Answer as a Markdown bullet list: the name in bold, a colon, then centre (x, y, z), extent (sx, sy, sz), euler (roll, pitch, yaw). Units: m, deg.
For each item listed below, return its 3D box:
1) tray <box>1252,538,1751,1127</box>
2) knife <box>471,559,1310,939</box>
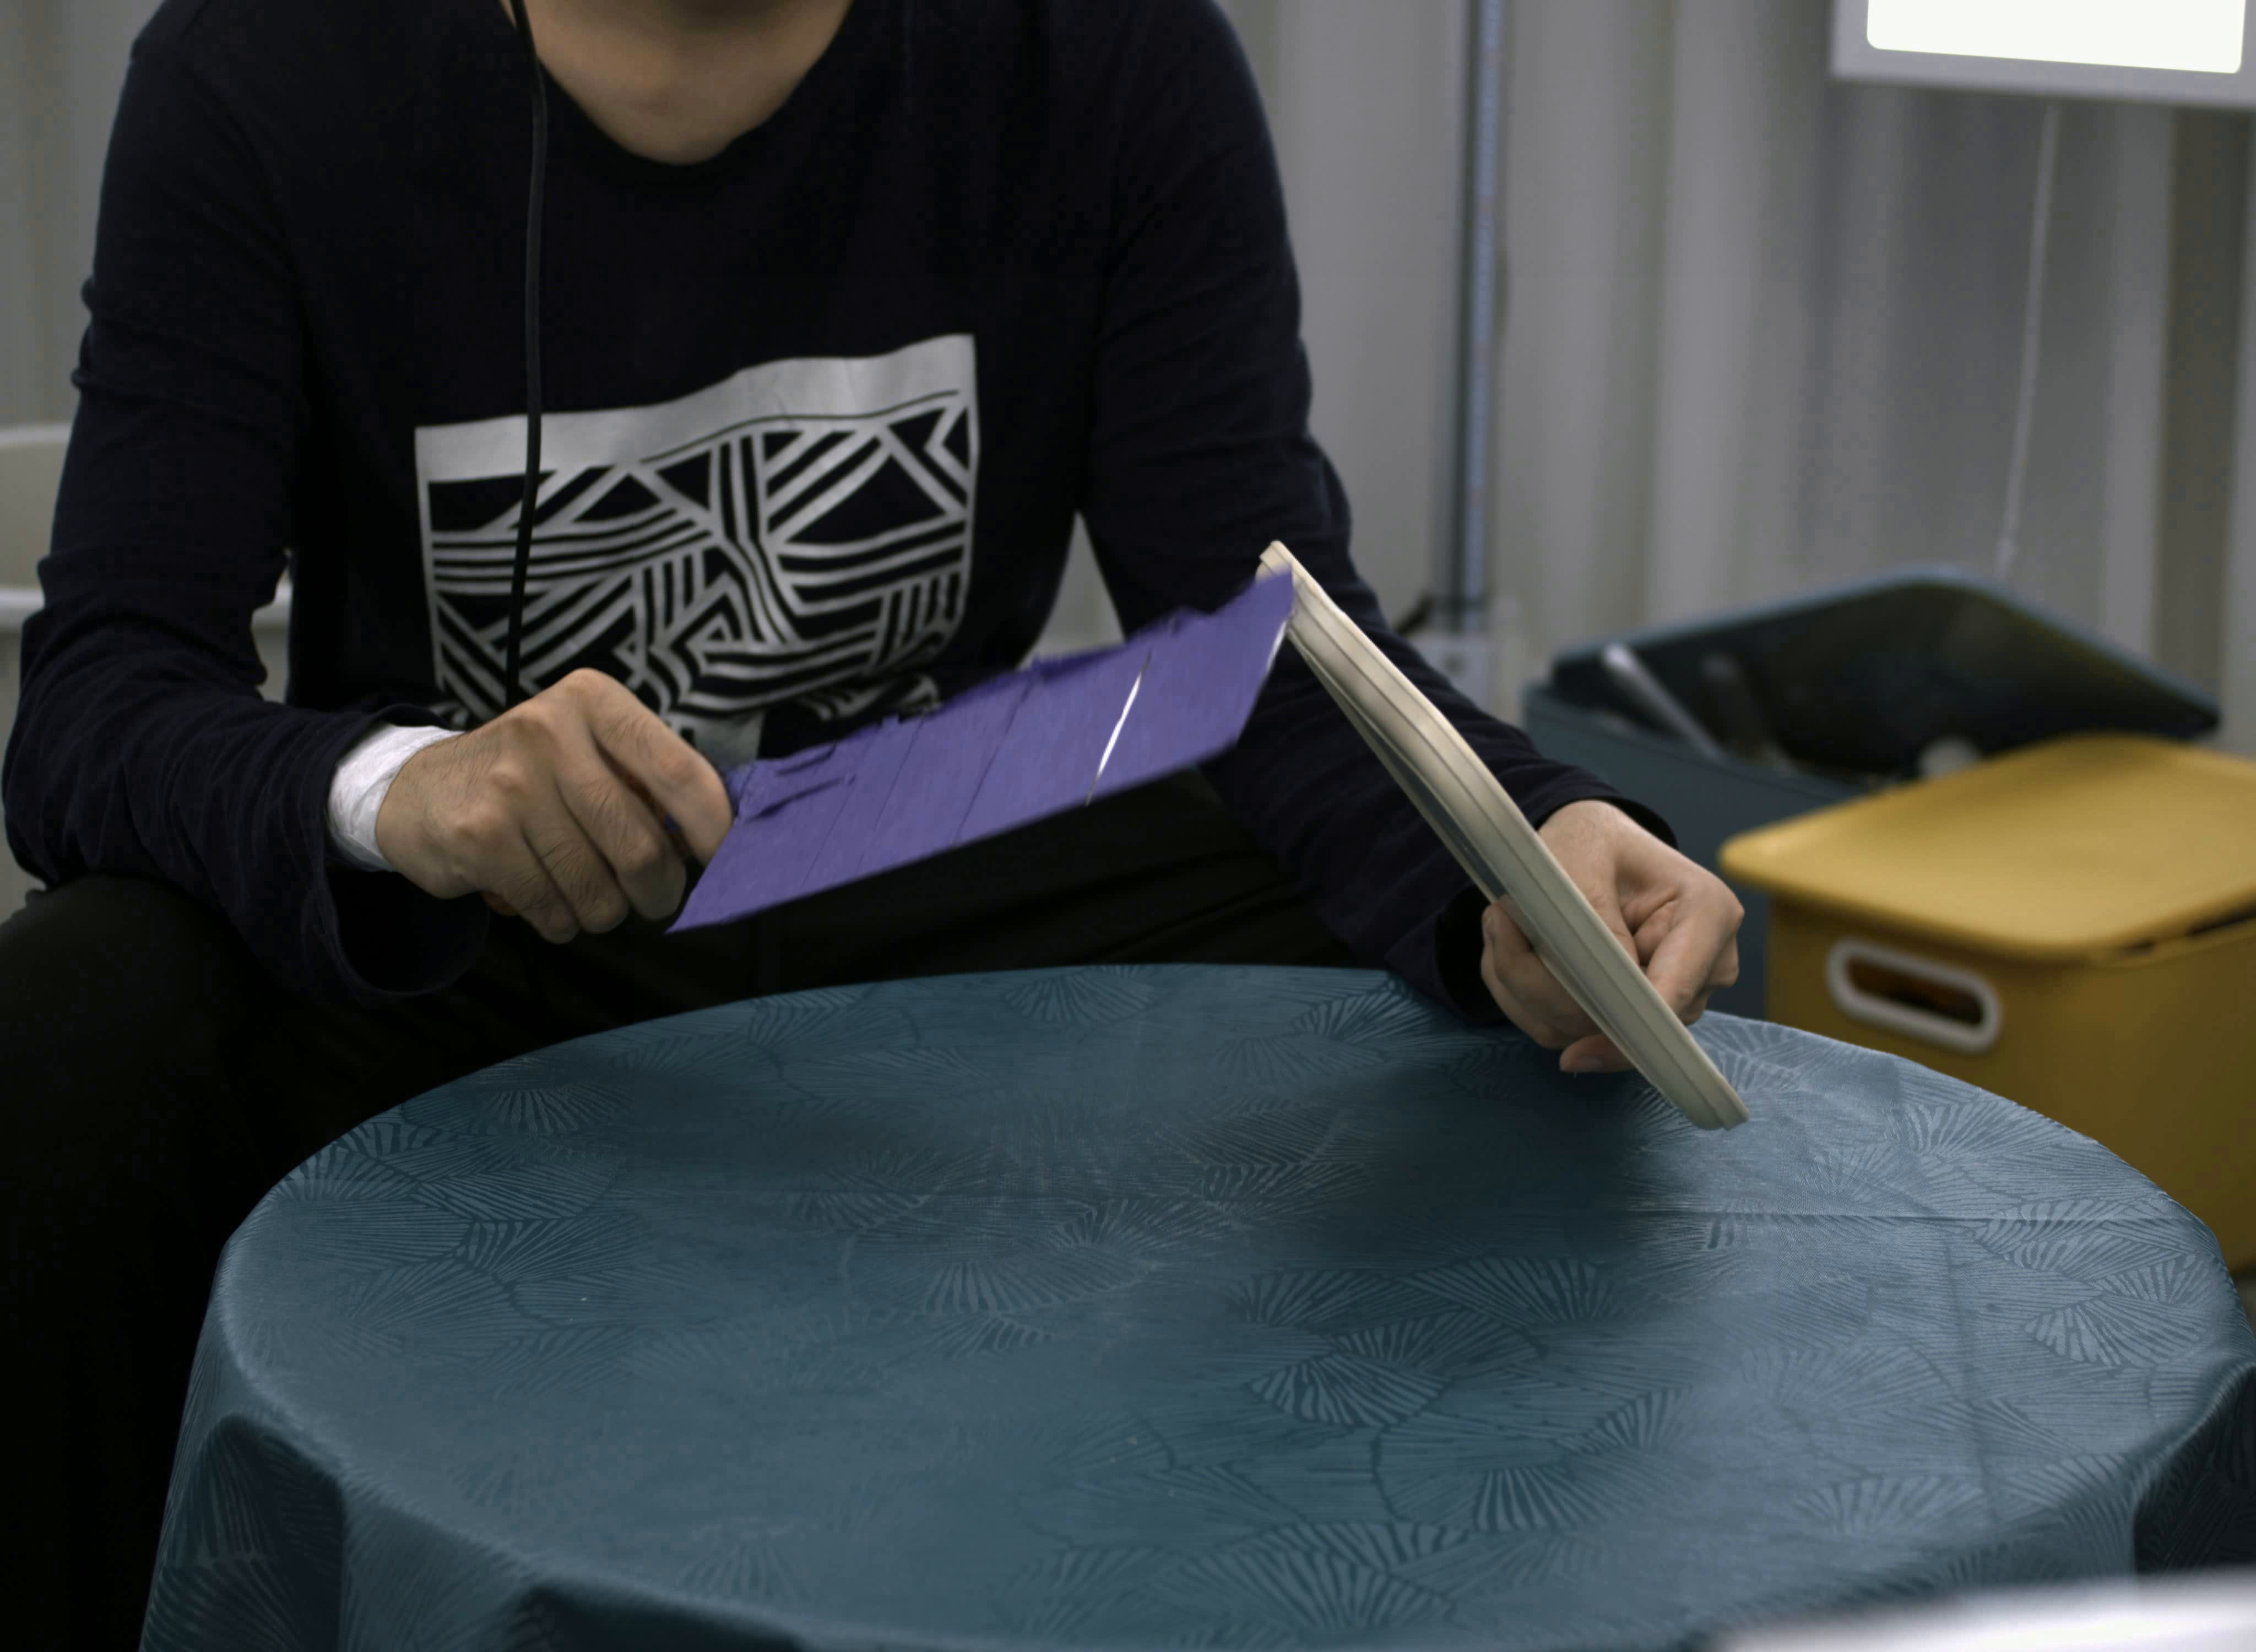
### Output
- **tray**: centre (0.111, 0.002, 1.640), extent (0.017, 0.173, 0.237), euler (-38, 23, 1)
- **knife**: centre (-0.087, -0.008, 1.599), extent (0.313, 0.032, 0.103), euler (-20, 24, 30)
